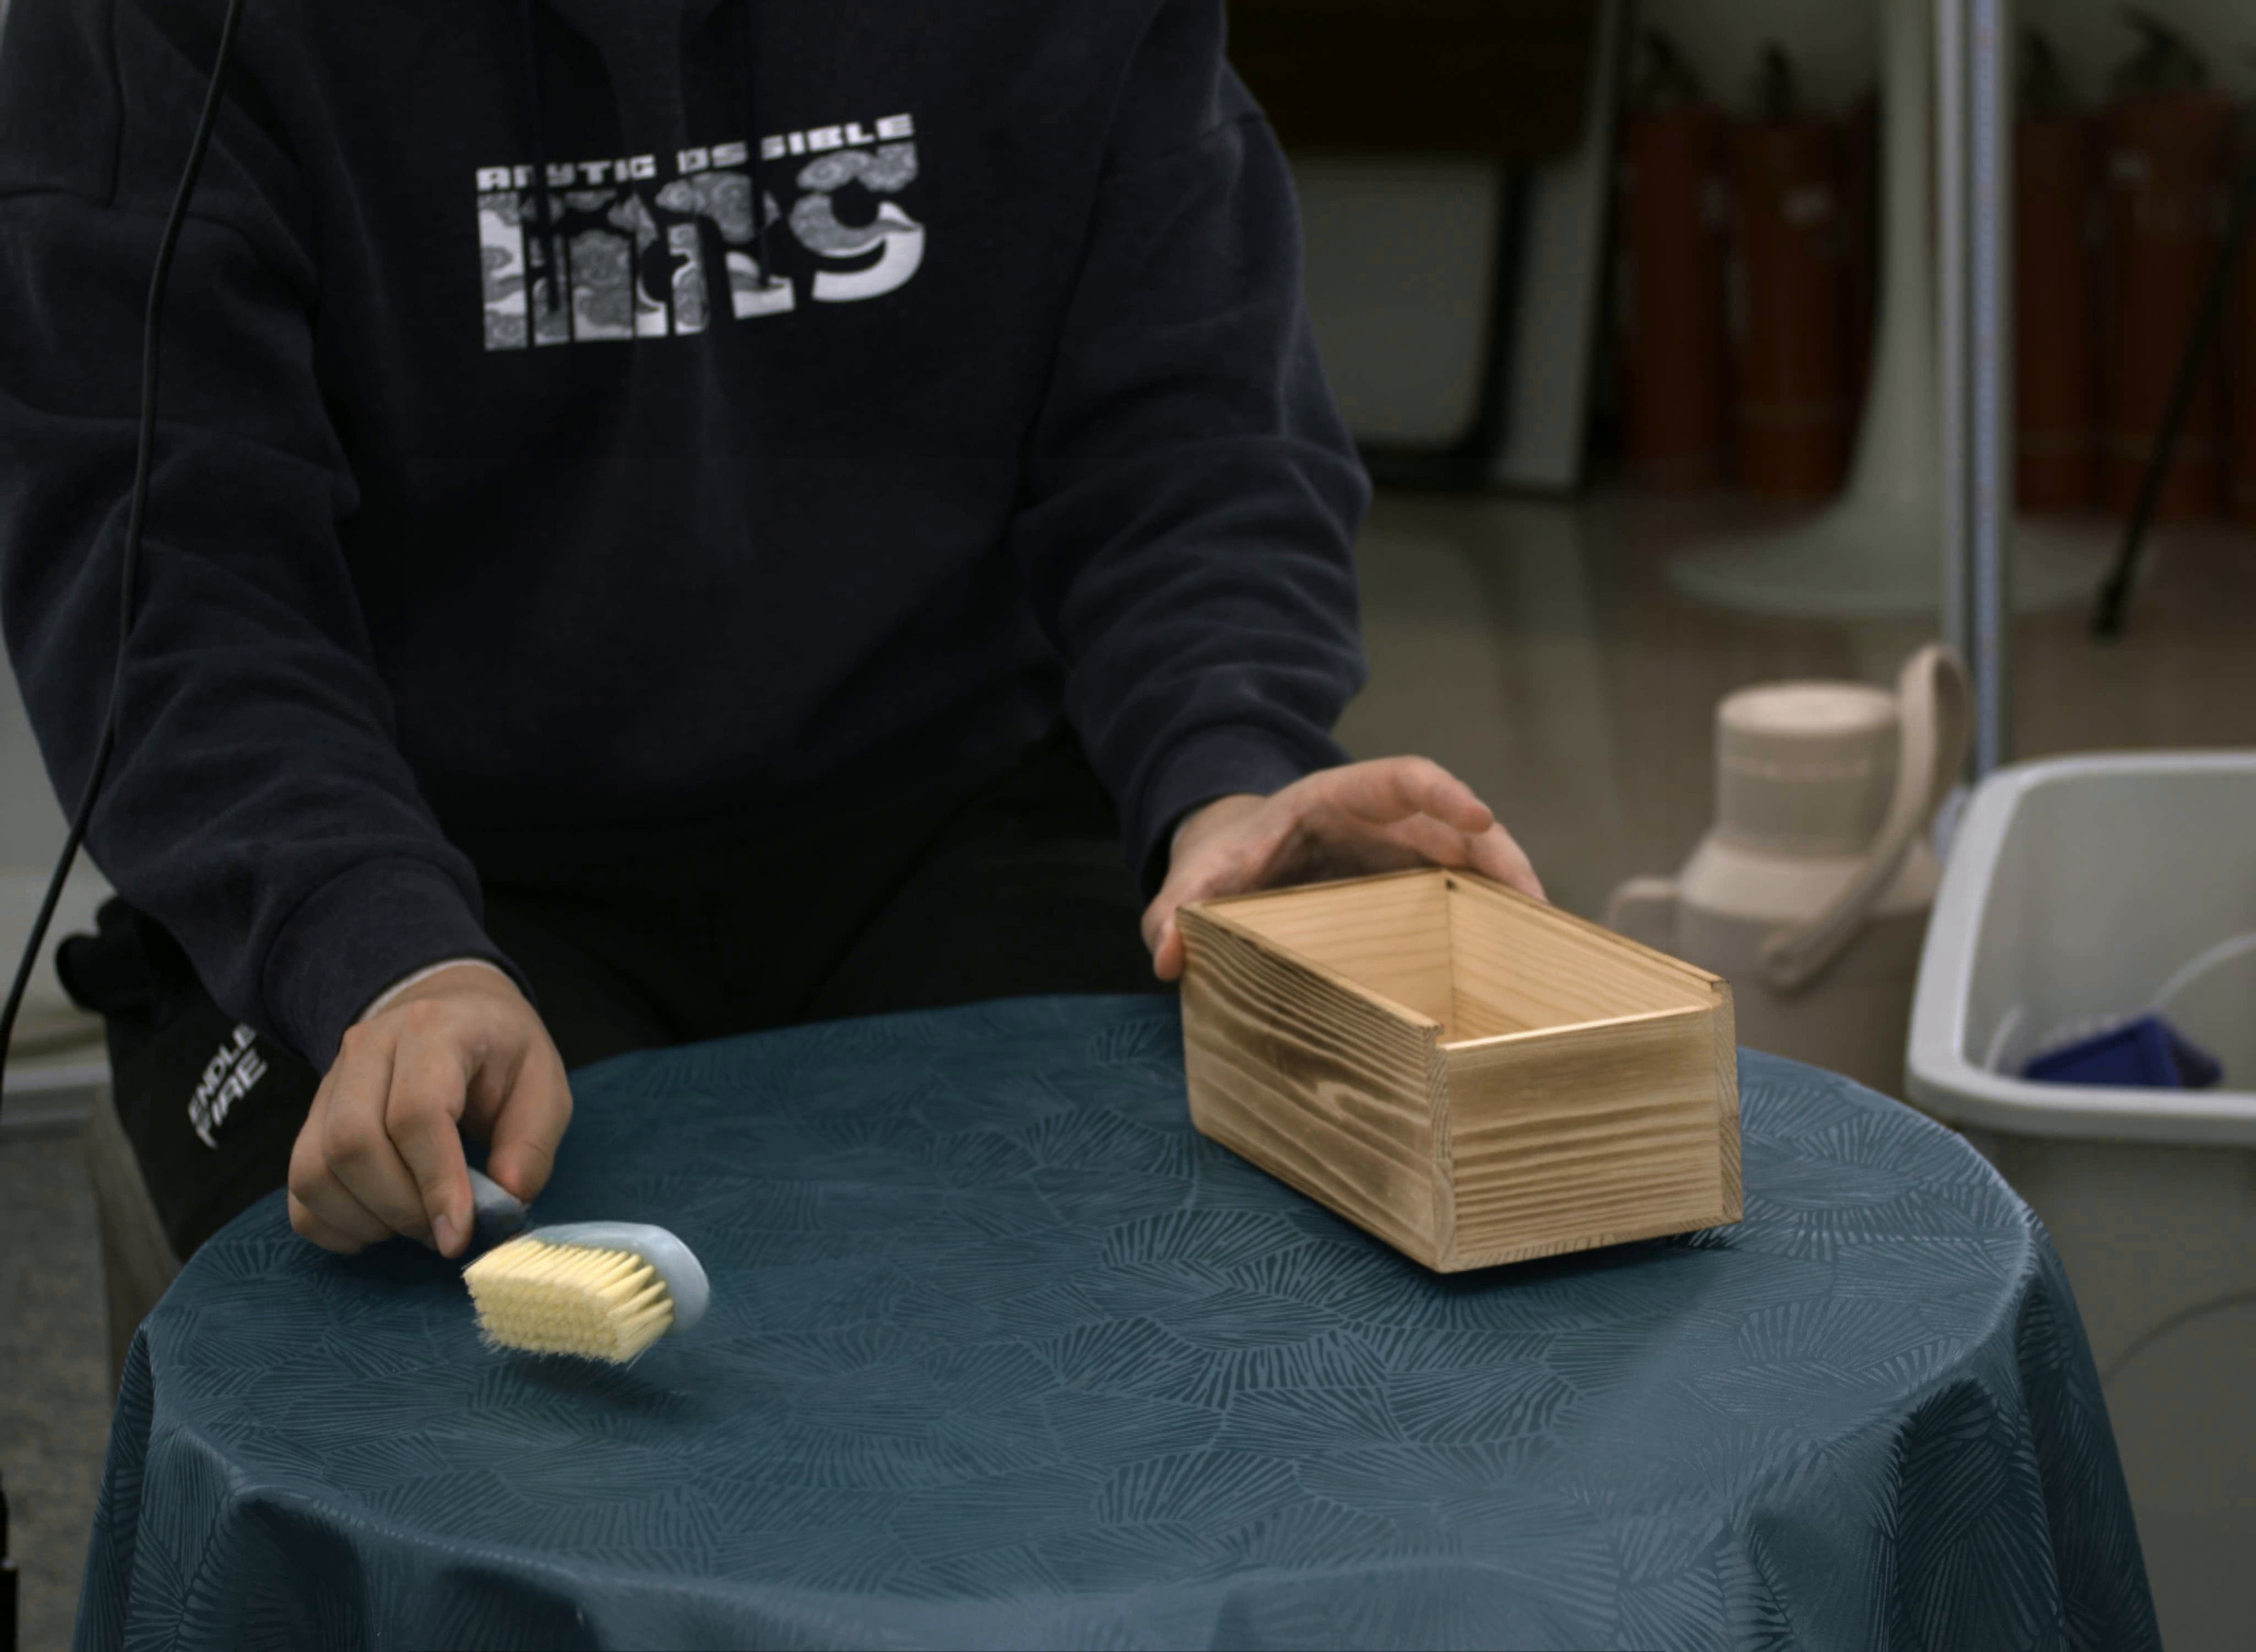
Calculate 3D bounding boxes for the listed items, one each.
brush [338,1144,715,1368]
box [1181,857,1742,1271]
[{"bbox_3d":[-0.198,0.130,1.677,0.049,0.038,0.231,-34,24,-22],"label":"brush"},{"bbox_3d":[0.105,0.074,1.750,0.105,0.081,0.213,-8,12,-19],"label":"box"}]
